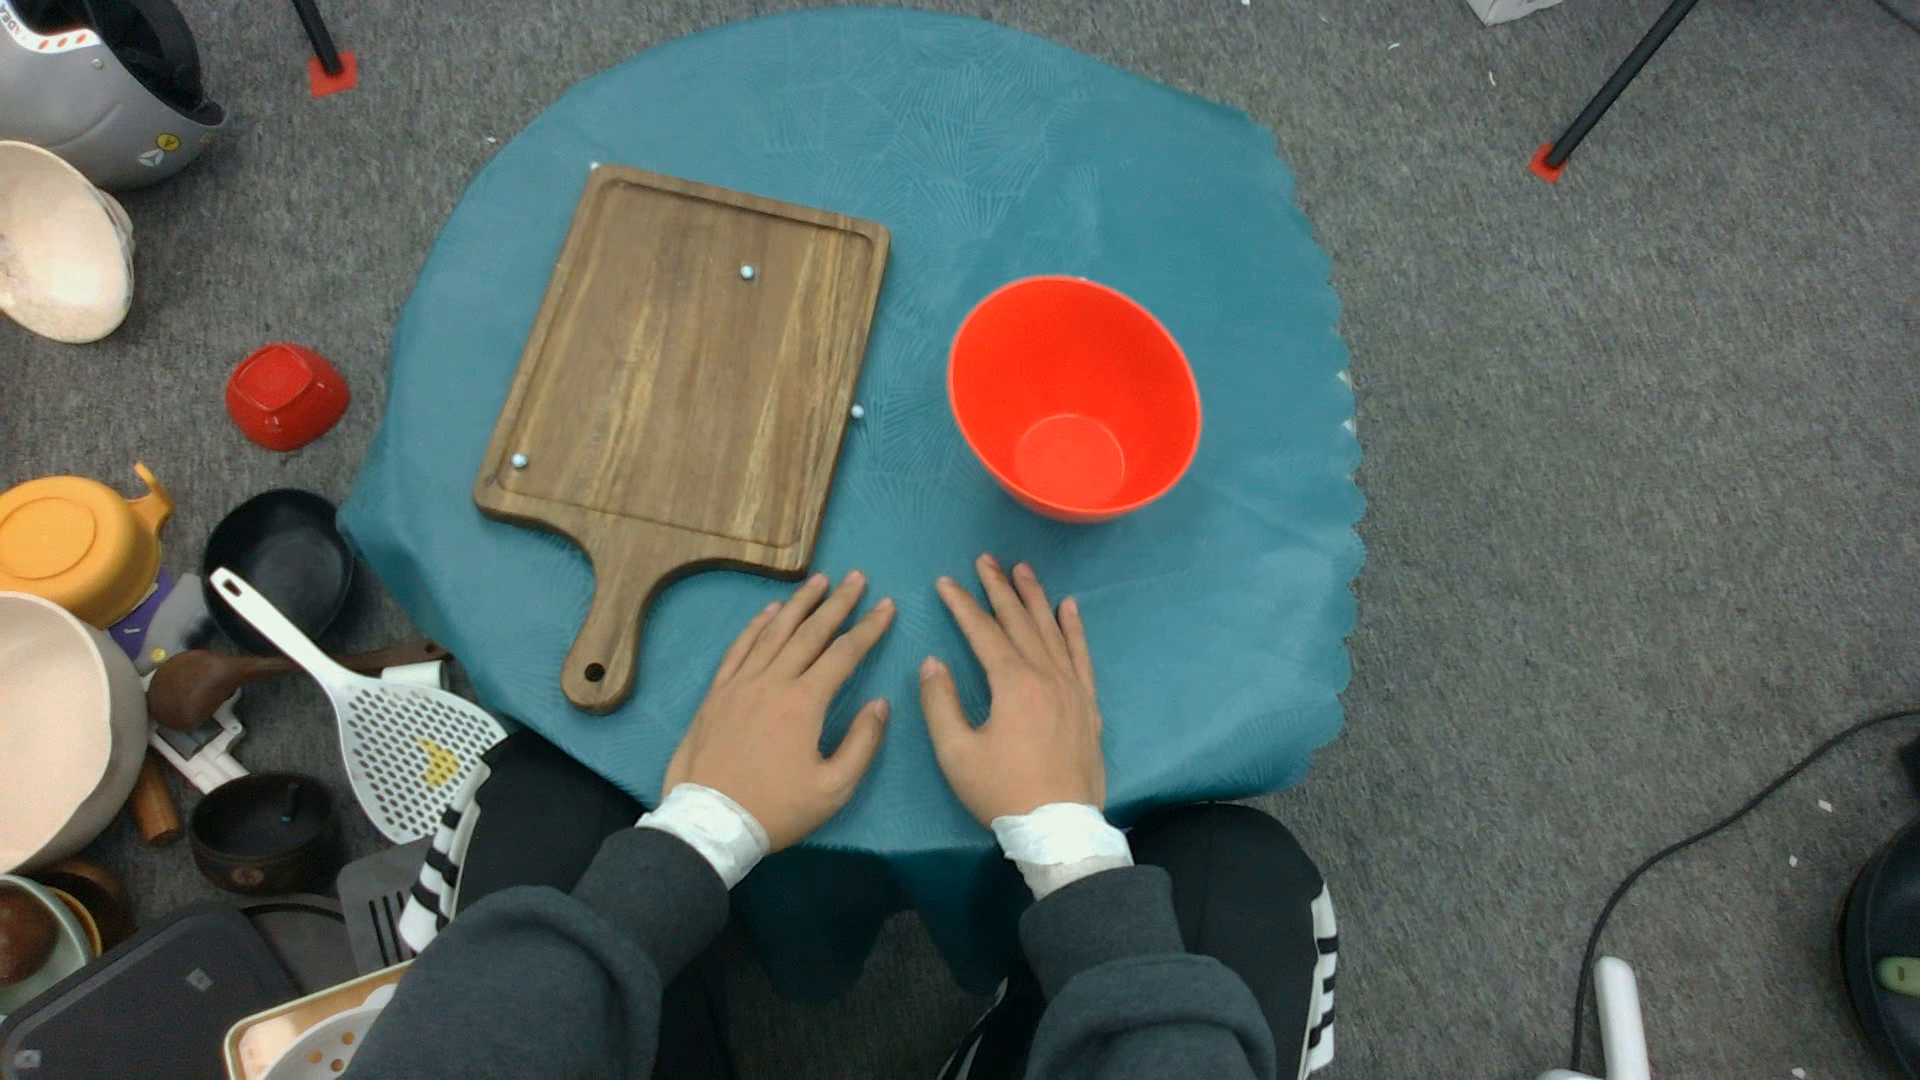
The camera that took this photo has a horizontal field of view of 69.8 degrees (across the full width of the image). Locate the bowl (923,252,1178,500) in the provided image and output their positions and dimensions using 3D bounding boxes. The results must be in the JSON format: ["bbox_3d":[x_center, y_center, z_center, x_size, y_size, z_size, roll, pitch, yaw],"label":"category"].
[{"bbox_3d":[0.048,-0.081,0.804,0.148,0.104,0.148,3,68,-6],"label":"bowl"}]

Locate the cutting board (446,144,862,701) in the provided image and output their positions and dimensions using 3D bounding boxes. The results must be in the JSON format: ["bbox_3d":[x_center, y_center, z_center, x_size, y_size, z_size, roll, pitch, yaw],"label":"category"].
[{"bbox_3d":[-0.186,-0.075,0.816,0.201,0.023,0.353,11,67,-2],"label":"cutting board"}]
